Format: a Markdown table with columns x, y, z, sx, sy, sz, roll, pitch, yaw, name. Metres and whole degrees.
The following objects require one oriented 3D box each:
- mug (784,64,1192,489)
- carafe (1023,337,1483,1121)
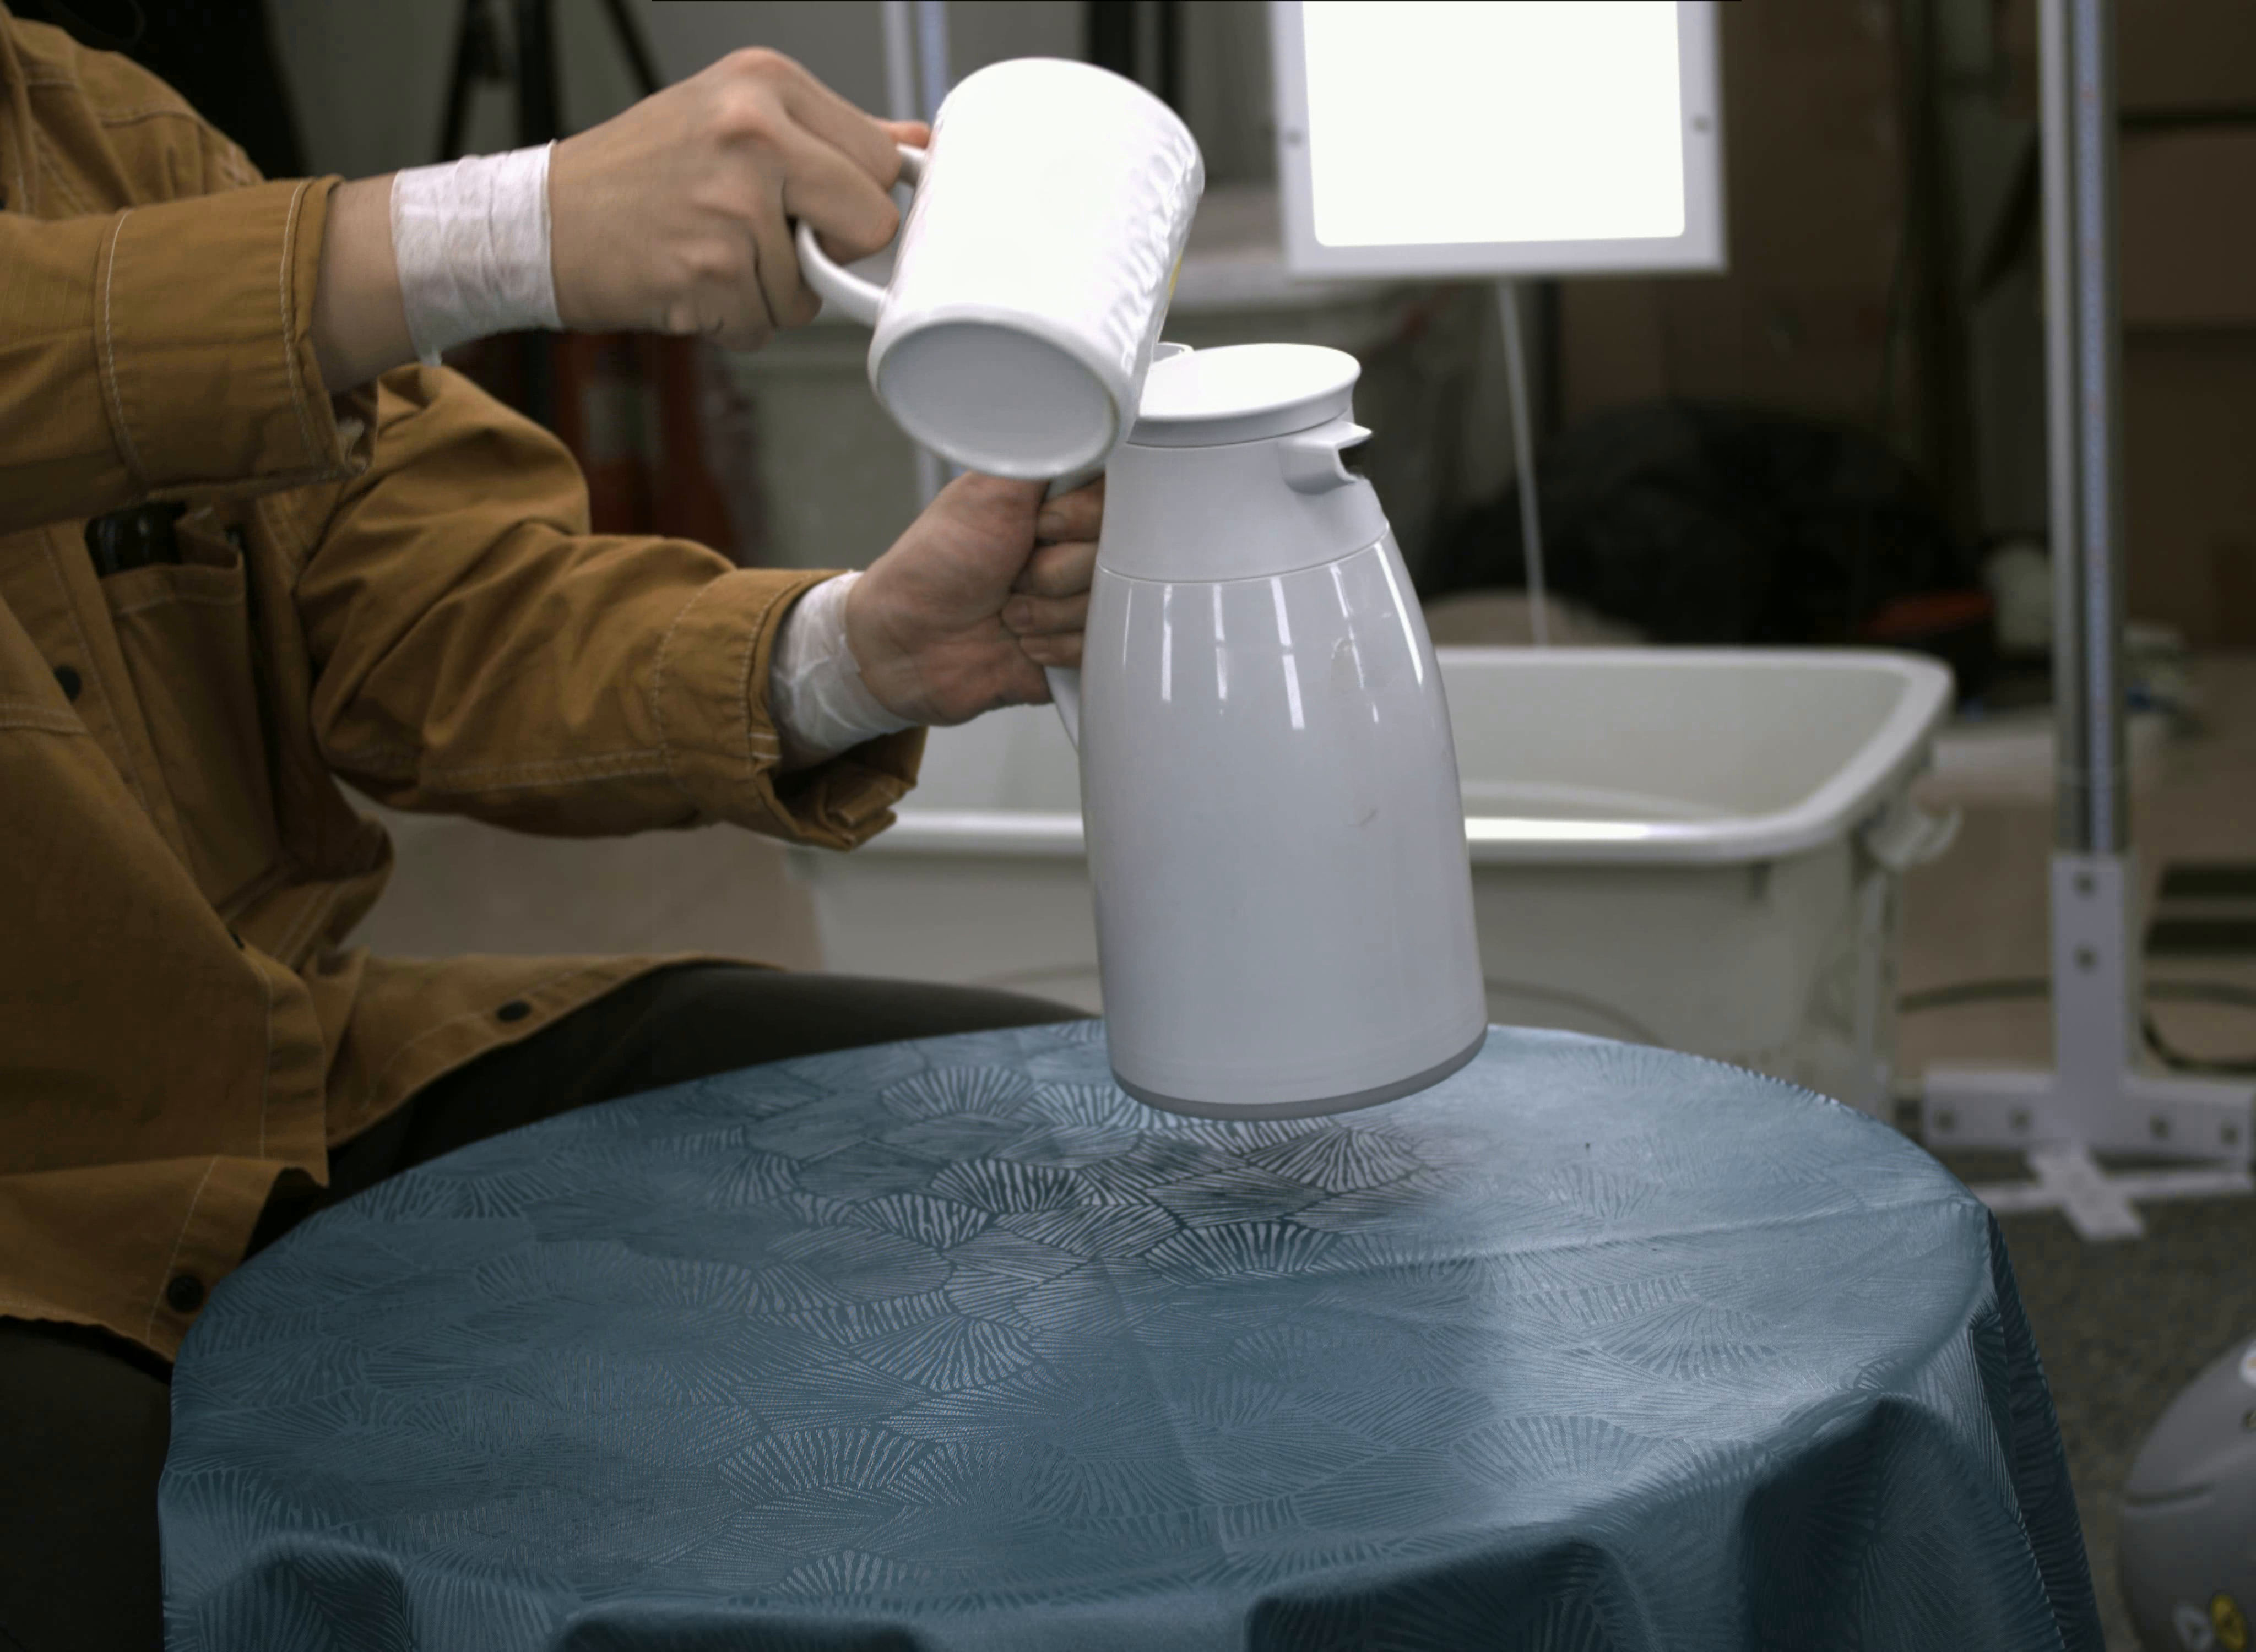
| x | y | z | sx | sy | sz | roll | pitch | yaw | name |
| --- | --- | --- | --- | --- | --- | --- | --- | --- | --- |
| -0.047 | -0.170 | 1.678 | 0.118 | 0.085 | 0.101 | 13 | 58 | 3 | mug |
| 0.030 | -0.042 | 1.875 | 0.129 | 0.249 | 0.171 | -22 | 23 | -38 | carafe |
